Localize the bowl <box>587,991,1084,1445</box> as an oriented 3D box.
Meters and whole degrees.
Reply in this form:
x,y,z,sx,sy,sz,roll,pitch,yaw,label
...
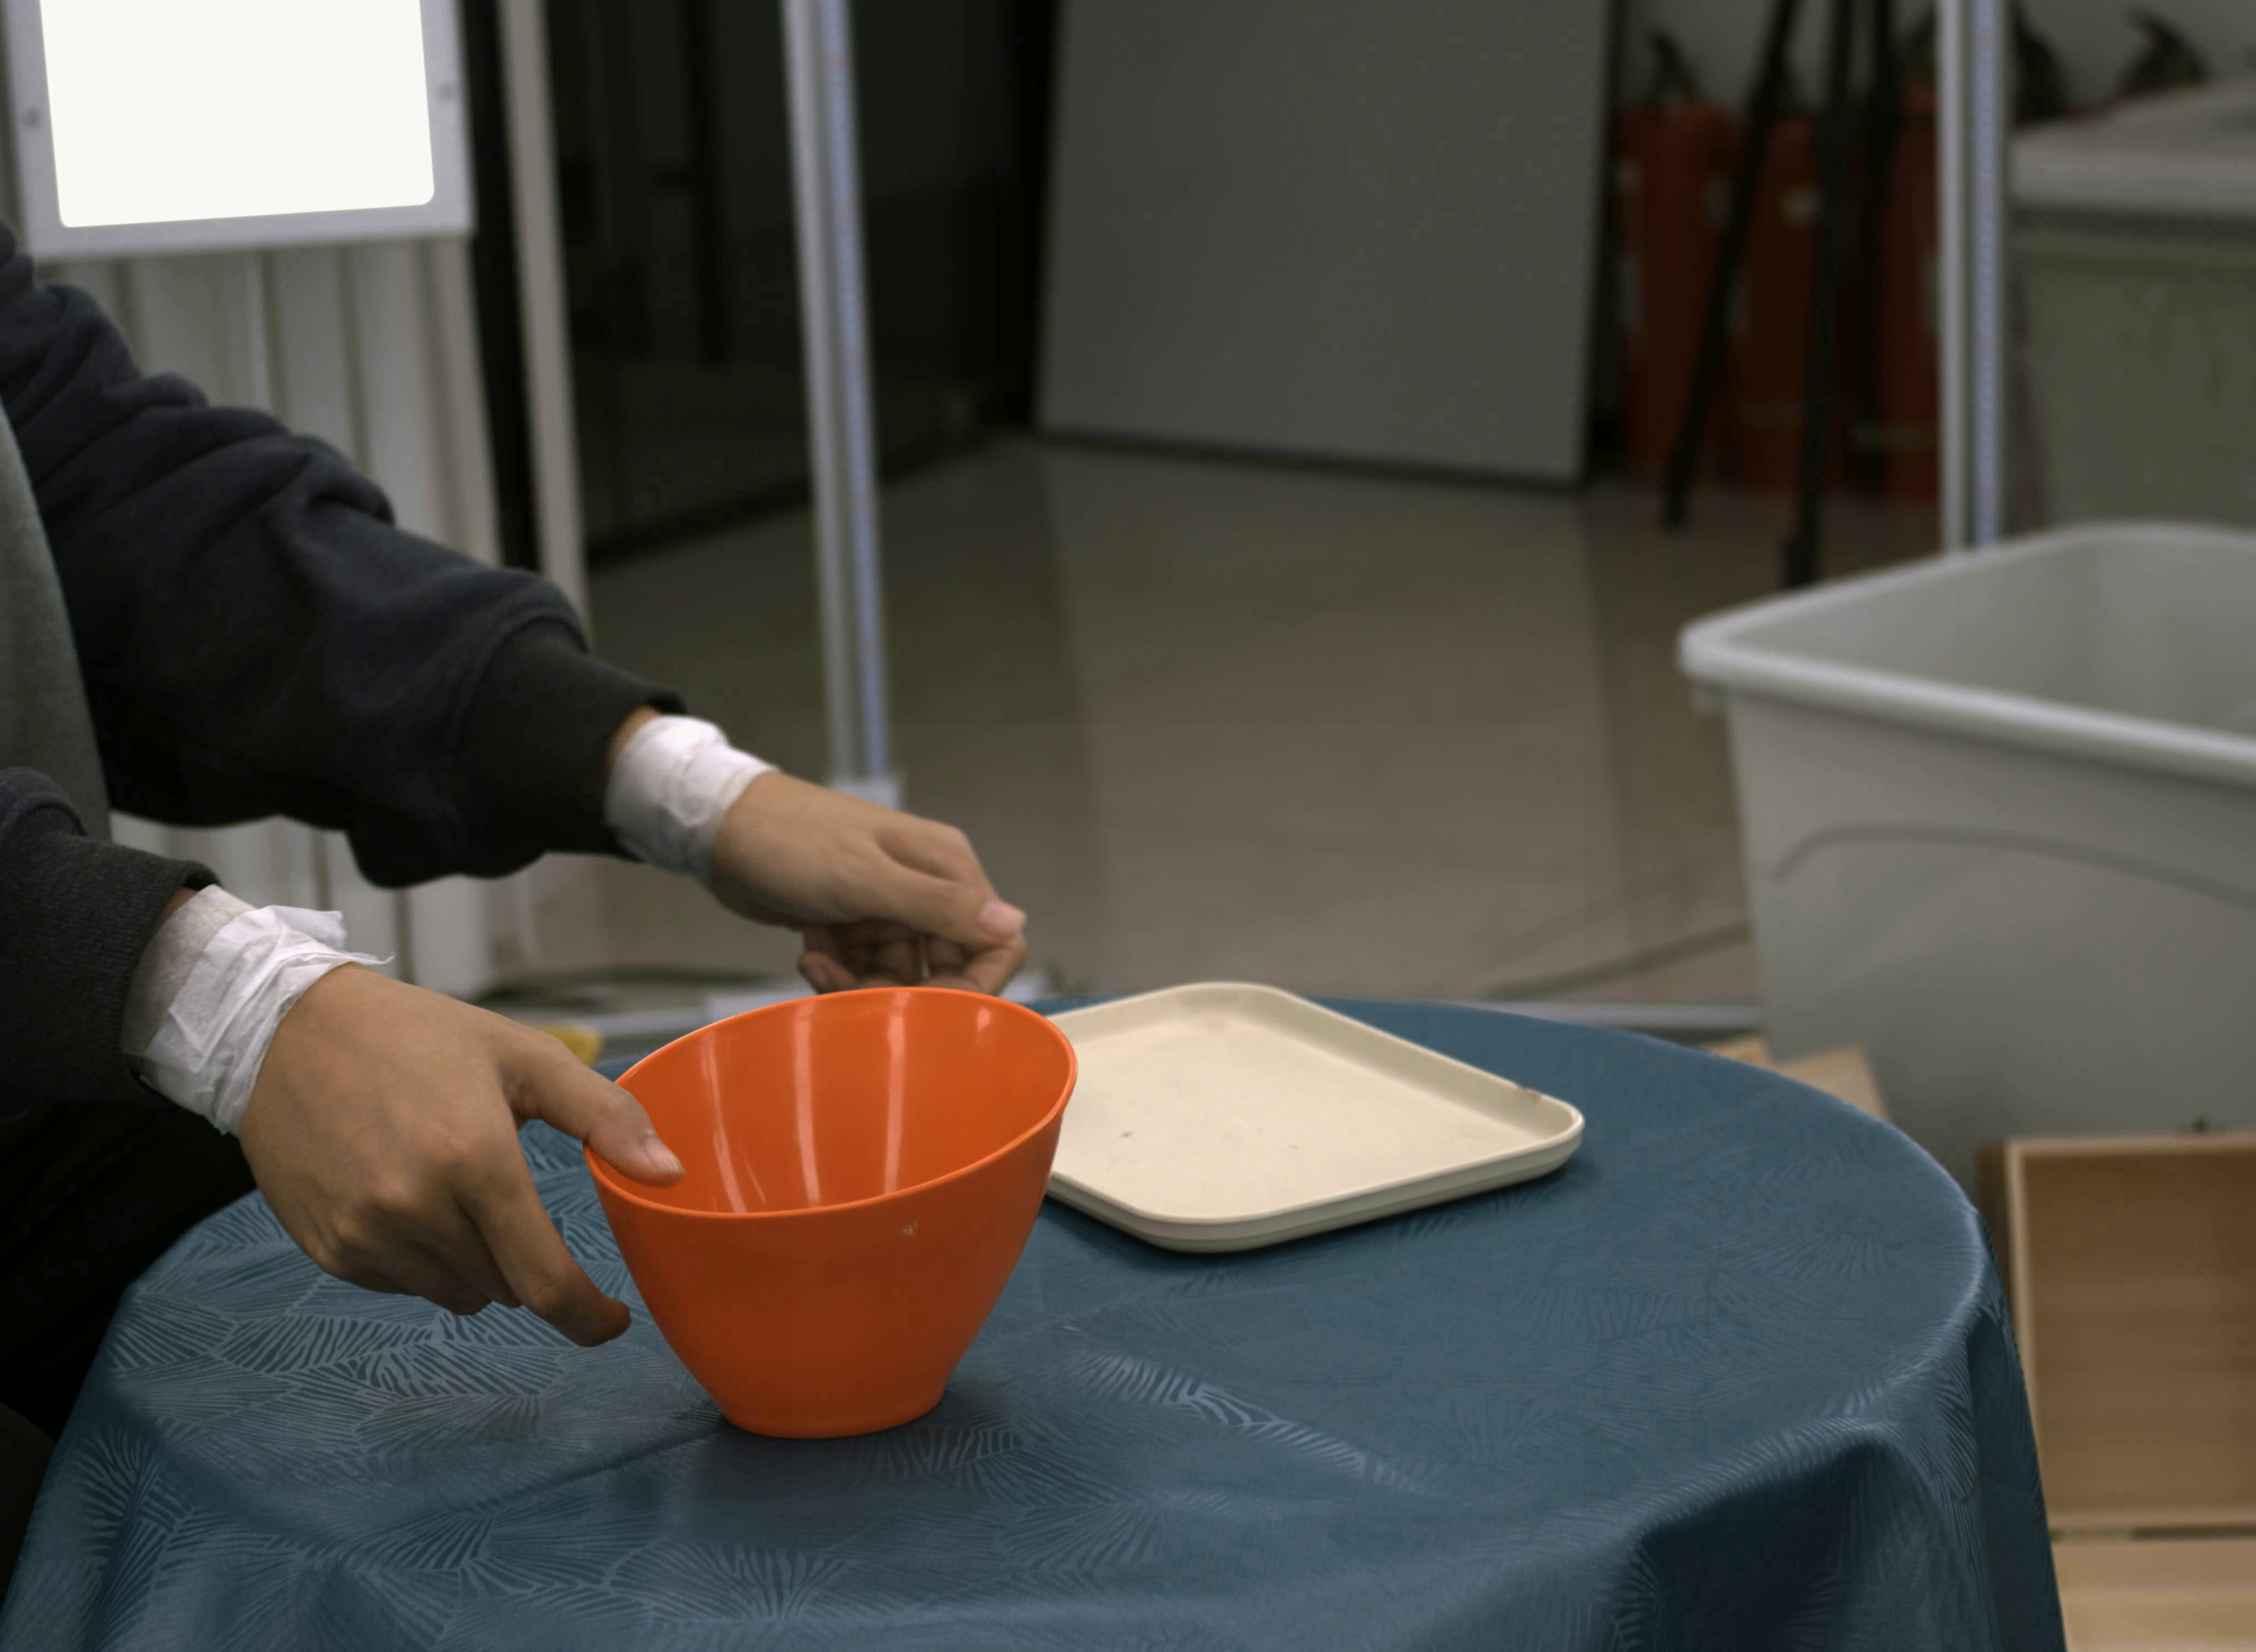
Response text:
x,y,z,sx,sy,sz,roll,pitch,yaw,label
-0.084,0.119,1.589,0.146,0.106,0.148,-2,13,0,bowl

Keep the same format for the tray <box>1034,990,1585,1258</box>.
x,y,z,sx,sy,sz,roll,pitch,yaw,label
0.030,0.099,1.815,0.167,0.017,0.242,-12,16,-28,tray
